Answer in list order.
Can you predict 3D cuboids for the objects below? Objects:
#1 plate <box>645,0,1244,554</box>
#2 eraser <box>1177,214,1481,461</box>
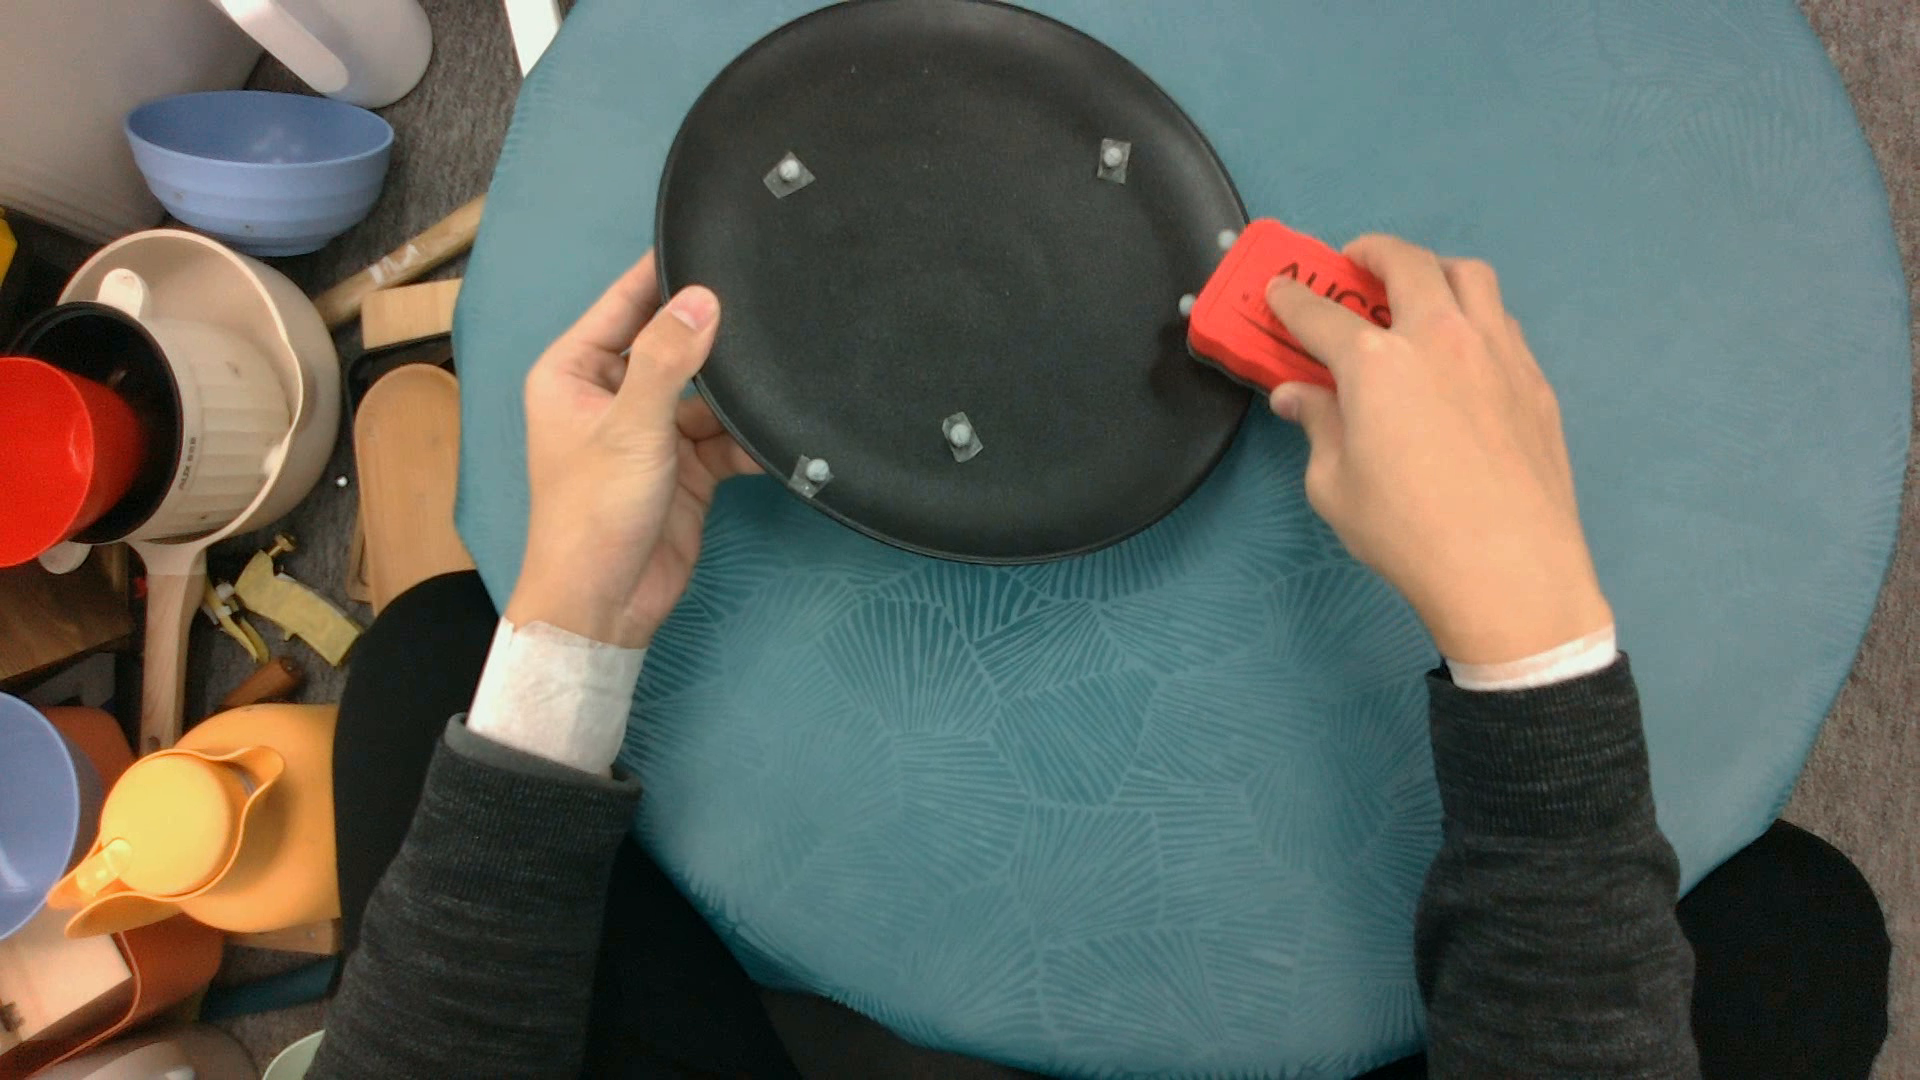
[{"bbox_3d":[0.000,-0.109,0.541,0.244,0.023,0.245,5,71,-14],"label":"plate"},{"bbox_3d":[0.142,-0.080,0.539,0.108,0.023,0.059,32,78,15],"label":"eraser"}]
